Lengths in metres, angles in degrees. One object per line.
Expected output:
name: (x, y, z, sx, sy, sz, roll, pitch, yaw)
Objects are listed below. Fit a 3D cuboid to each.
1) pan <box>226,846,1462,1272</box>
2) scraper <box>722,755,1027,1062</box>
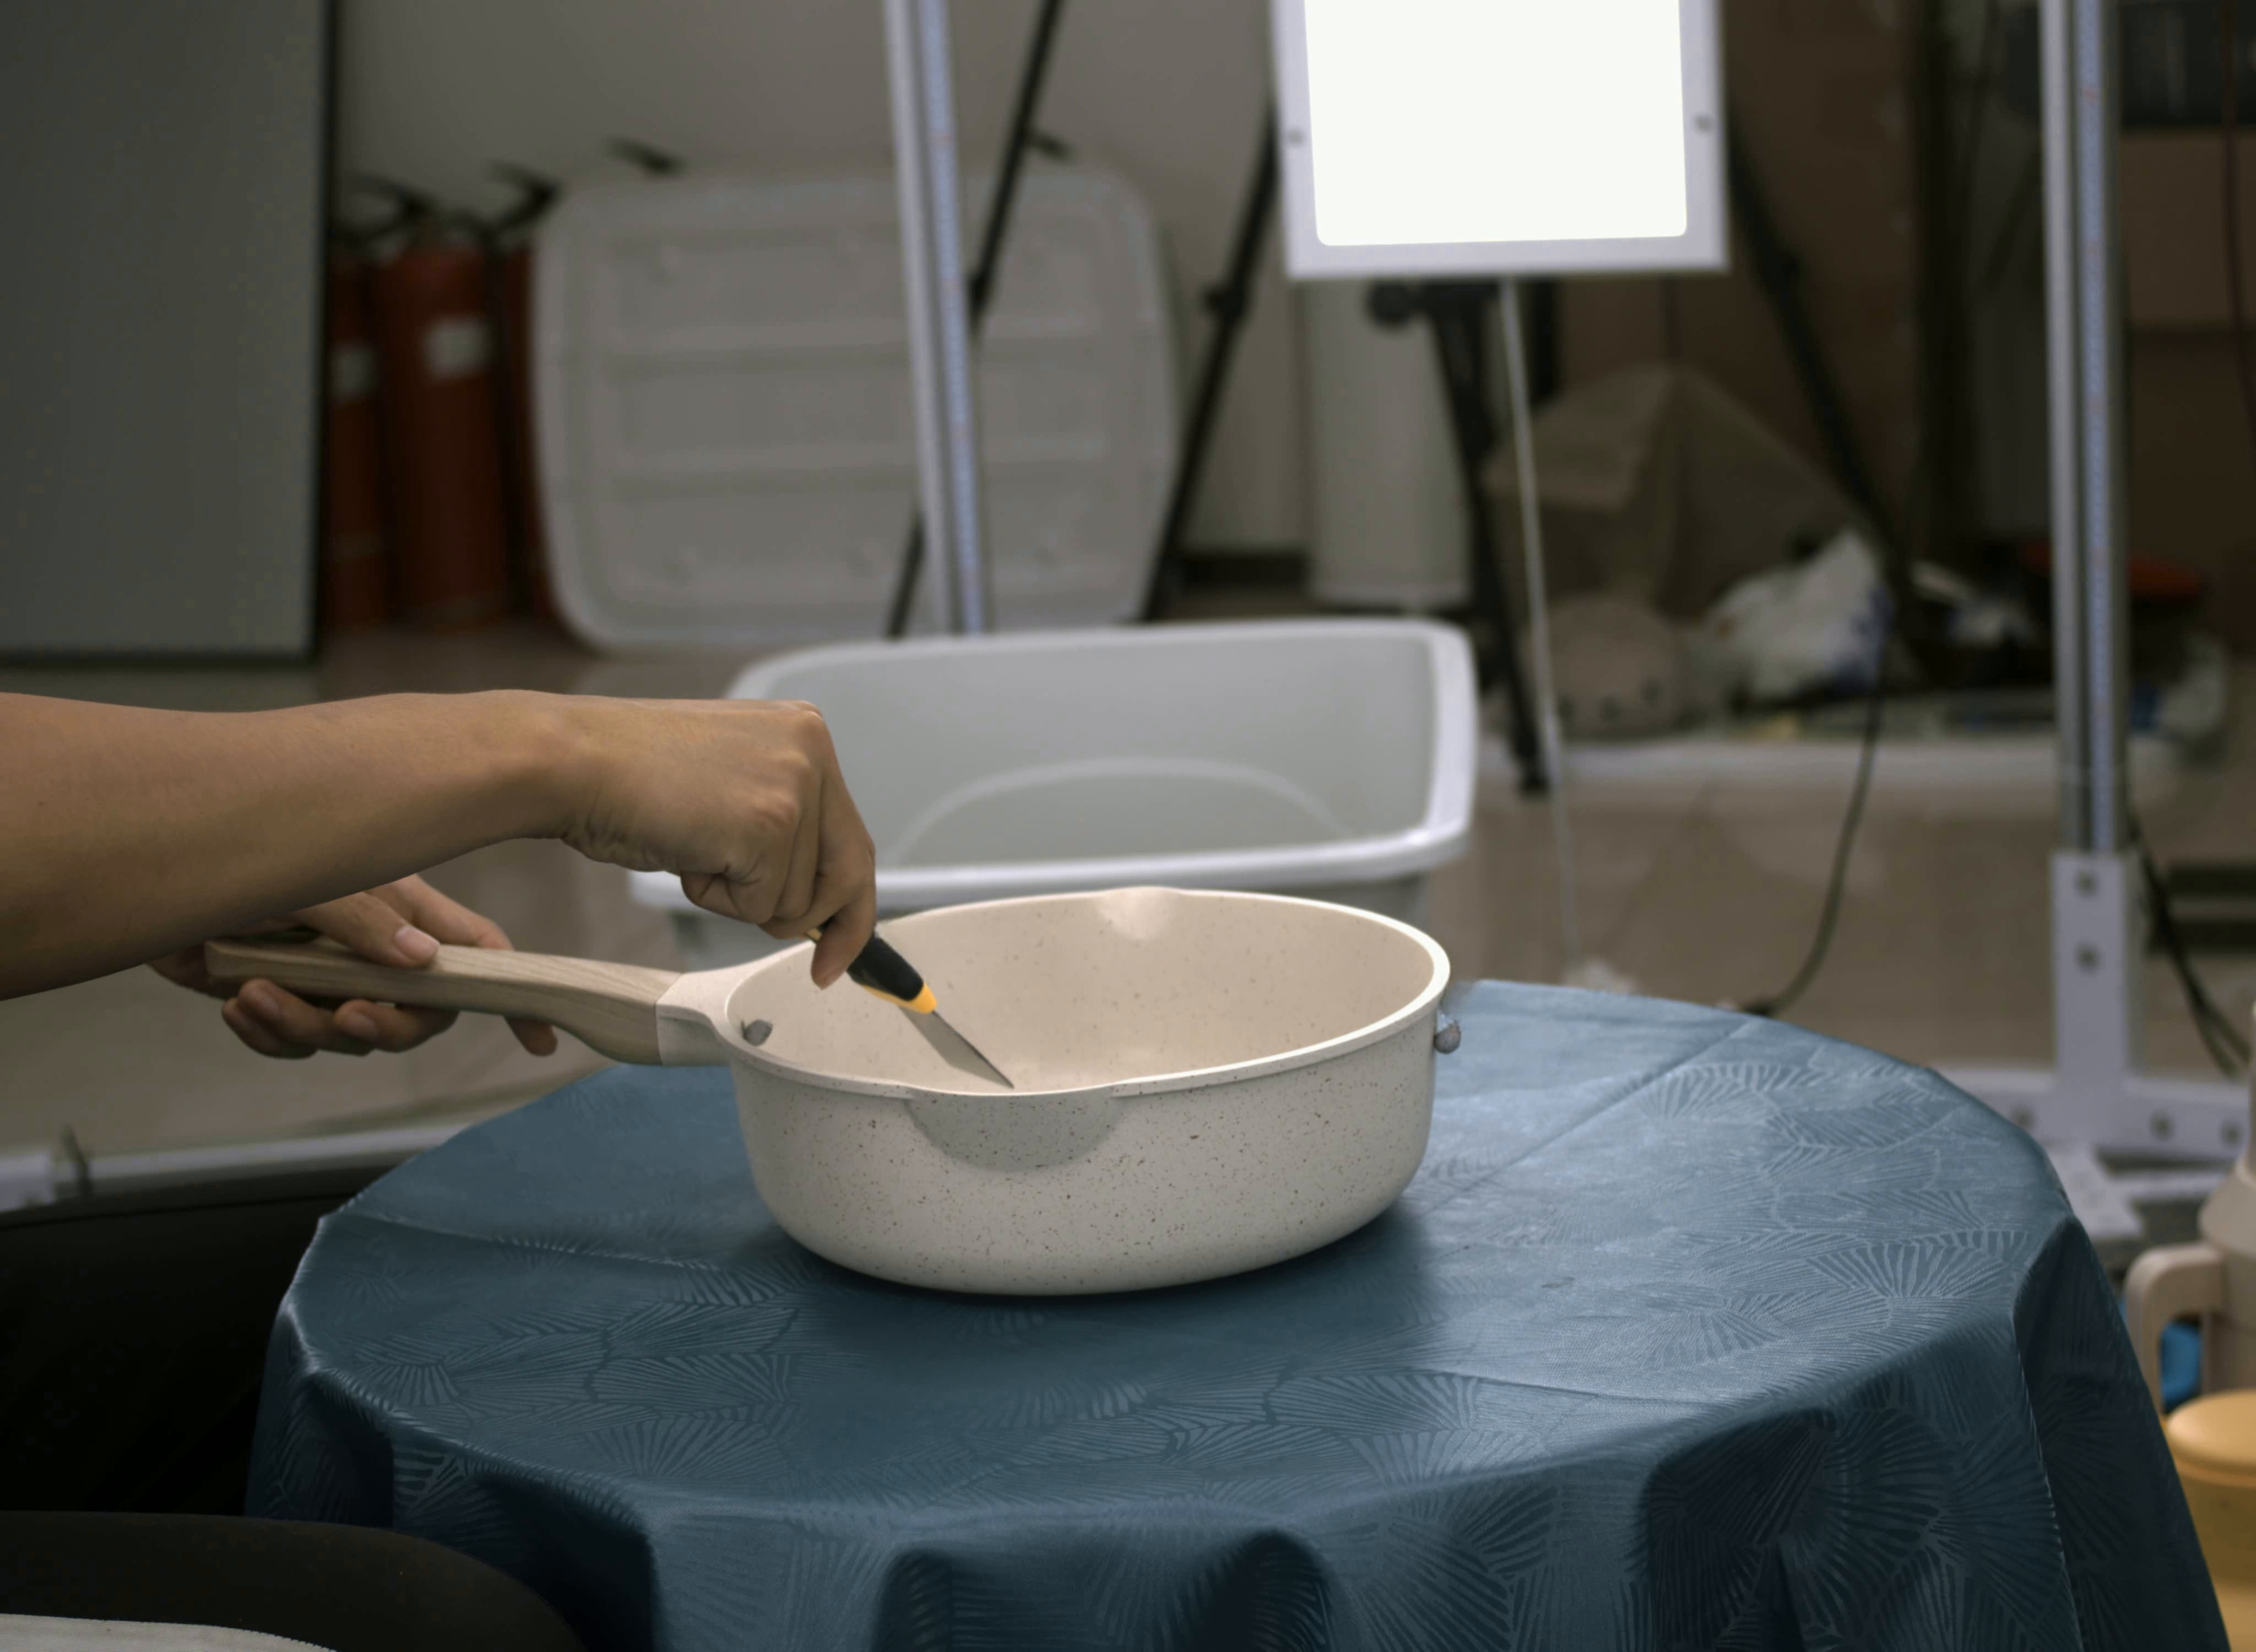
pan: (-0.098, 0.078, 1.909, 0.438, 0.102, 0.260, -2, 16, 12)
scraper: (-0.085, 0.029, 1.842, 0.015, 0.169, 0.039, -49, 42, -10)
